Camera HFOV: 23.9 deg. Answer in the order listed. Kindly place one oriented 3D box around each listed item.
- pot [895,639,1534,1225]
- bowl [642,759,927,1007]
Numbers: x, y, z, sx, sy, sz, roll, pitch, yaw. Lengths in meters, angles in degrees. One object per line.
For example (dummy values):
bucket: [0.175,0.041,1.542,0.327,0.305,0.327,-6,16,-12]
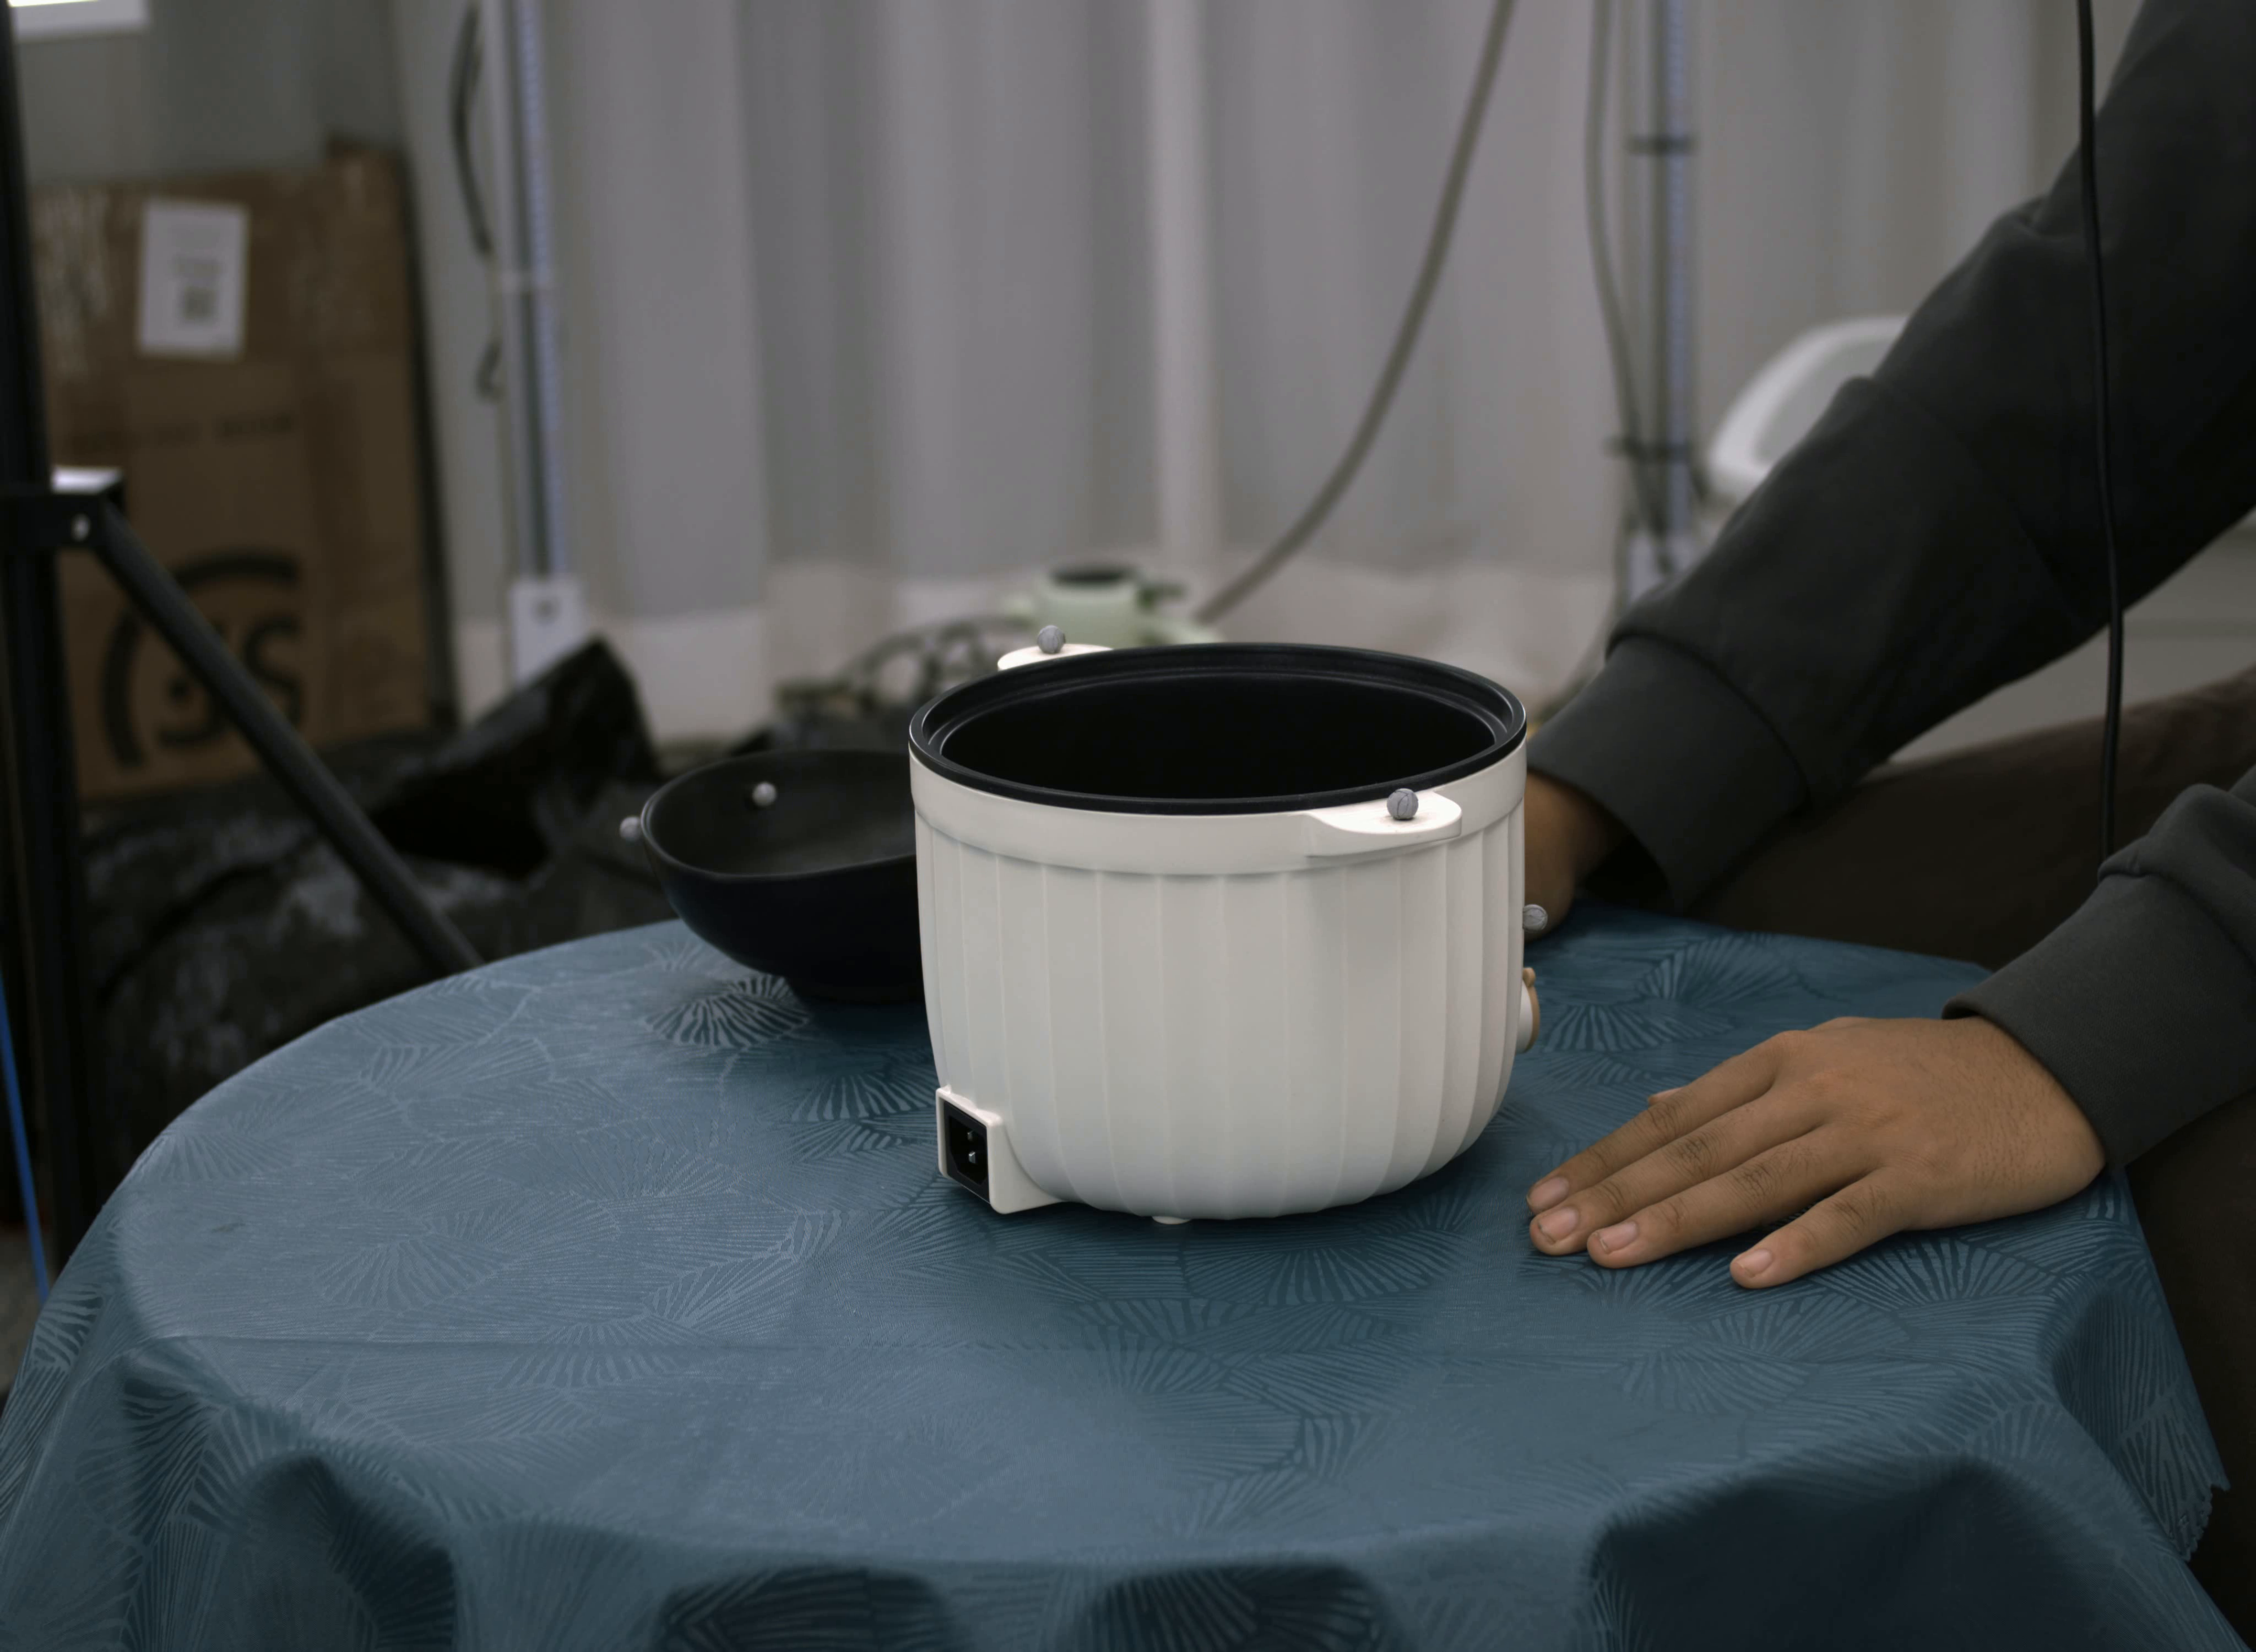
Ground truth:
pot: [0.031,0.031,1.571,0.187,0.142,0.245,-13,20,-25]
bowl: [-0.082,0.020,1.762,0.140,0.067,0.166,11,19,39]
